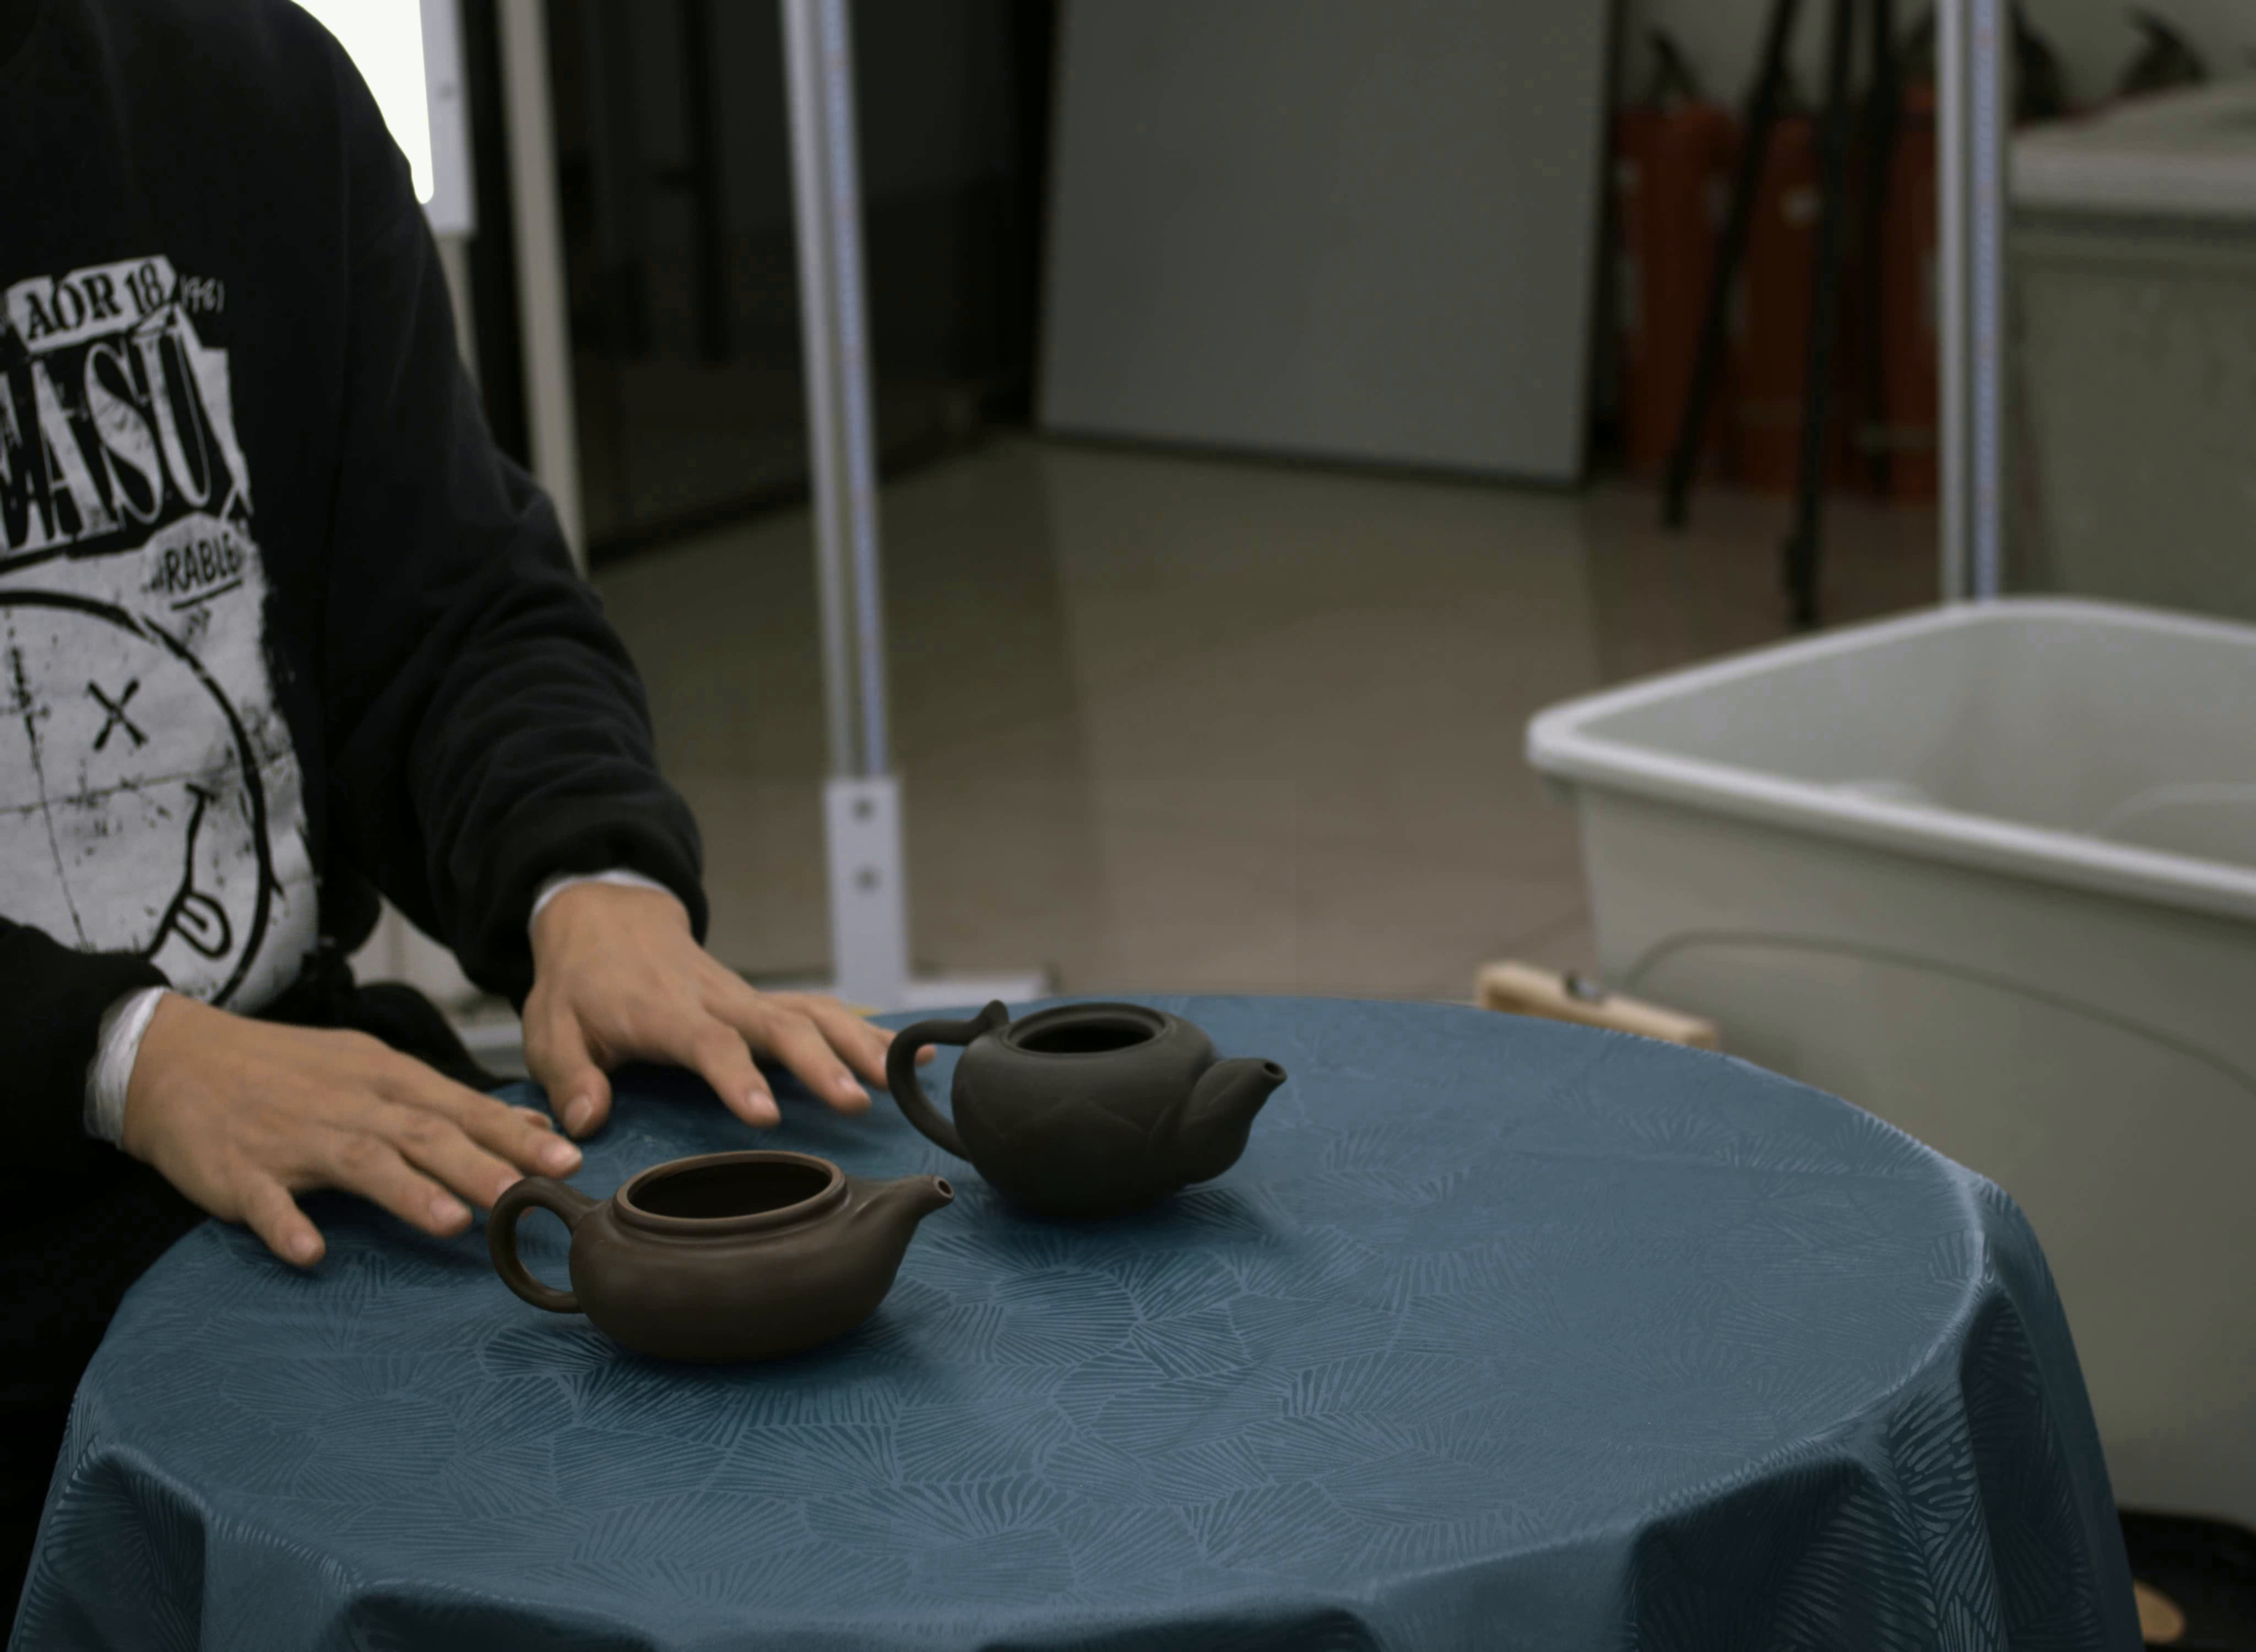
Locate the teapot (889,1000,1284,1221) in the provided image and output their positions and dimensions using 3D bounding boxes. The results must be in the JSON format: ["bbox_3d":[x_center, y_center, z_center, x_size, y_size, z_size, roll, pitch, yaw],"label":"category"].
[{"bbox_3d":[-0.014,0.092,1.765,0.155,0.065,0.091,5,15,33],"label":"teapot"}]

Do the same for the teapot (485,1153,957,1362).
[{"bbox_3d":[-0.124,0.131,1.658,0.152,0.054,0.102,-1,11,12],"label":"teapot"}]
